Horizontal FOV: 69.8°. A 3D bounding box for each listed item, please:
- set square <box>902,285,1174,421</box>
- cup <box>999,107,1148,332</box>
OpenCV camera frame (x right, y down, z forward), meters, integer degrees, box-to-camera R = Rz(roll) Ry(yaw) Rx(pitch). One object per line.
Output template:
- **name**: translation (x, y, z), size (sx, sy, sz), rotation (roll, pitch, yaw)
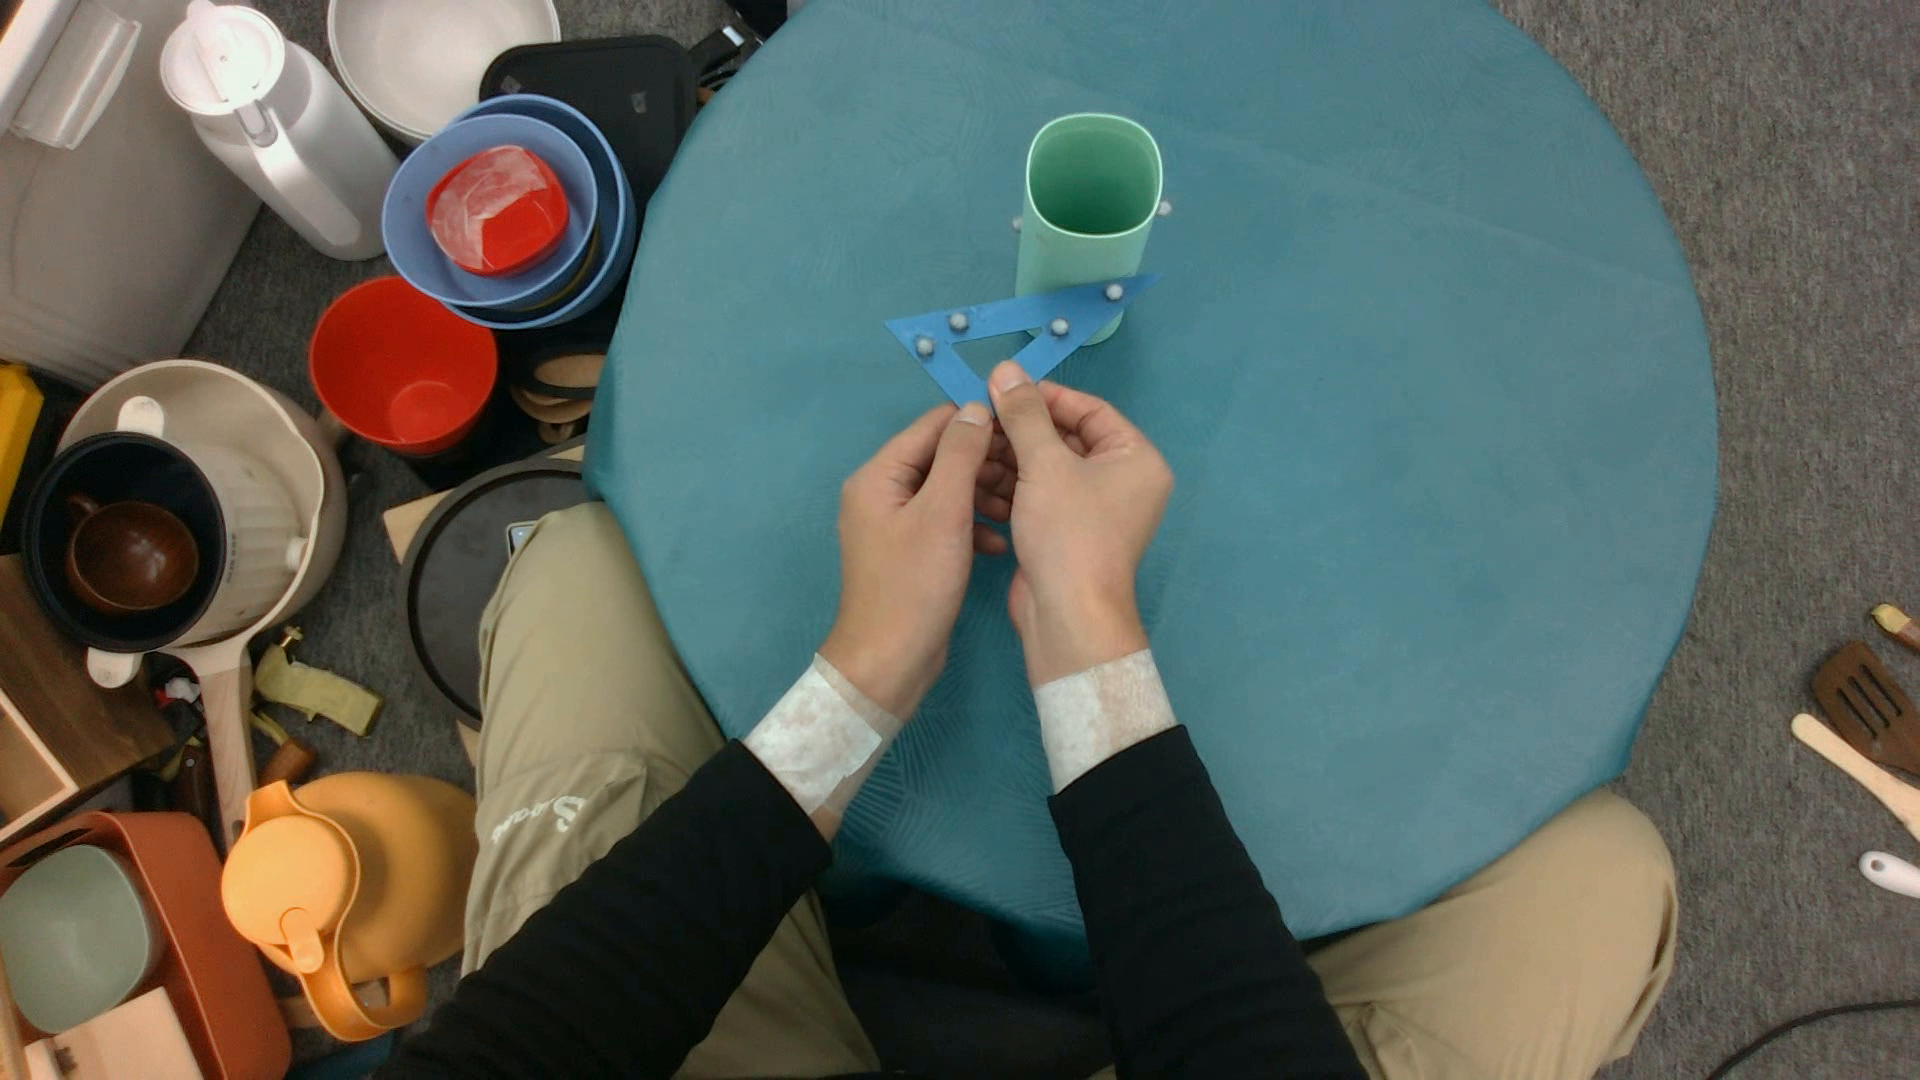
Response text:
- **set square**: translation (0.041, -0.090, 0.659), size (0.132, 0.006, 0.061), rotation (-7, 78, -4)
- **cup**: translation (0.054, -0.154, 0.696), size (0.067, 0.132, 0.067), rotation (0, 75, -2)
